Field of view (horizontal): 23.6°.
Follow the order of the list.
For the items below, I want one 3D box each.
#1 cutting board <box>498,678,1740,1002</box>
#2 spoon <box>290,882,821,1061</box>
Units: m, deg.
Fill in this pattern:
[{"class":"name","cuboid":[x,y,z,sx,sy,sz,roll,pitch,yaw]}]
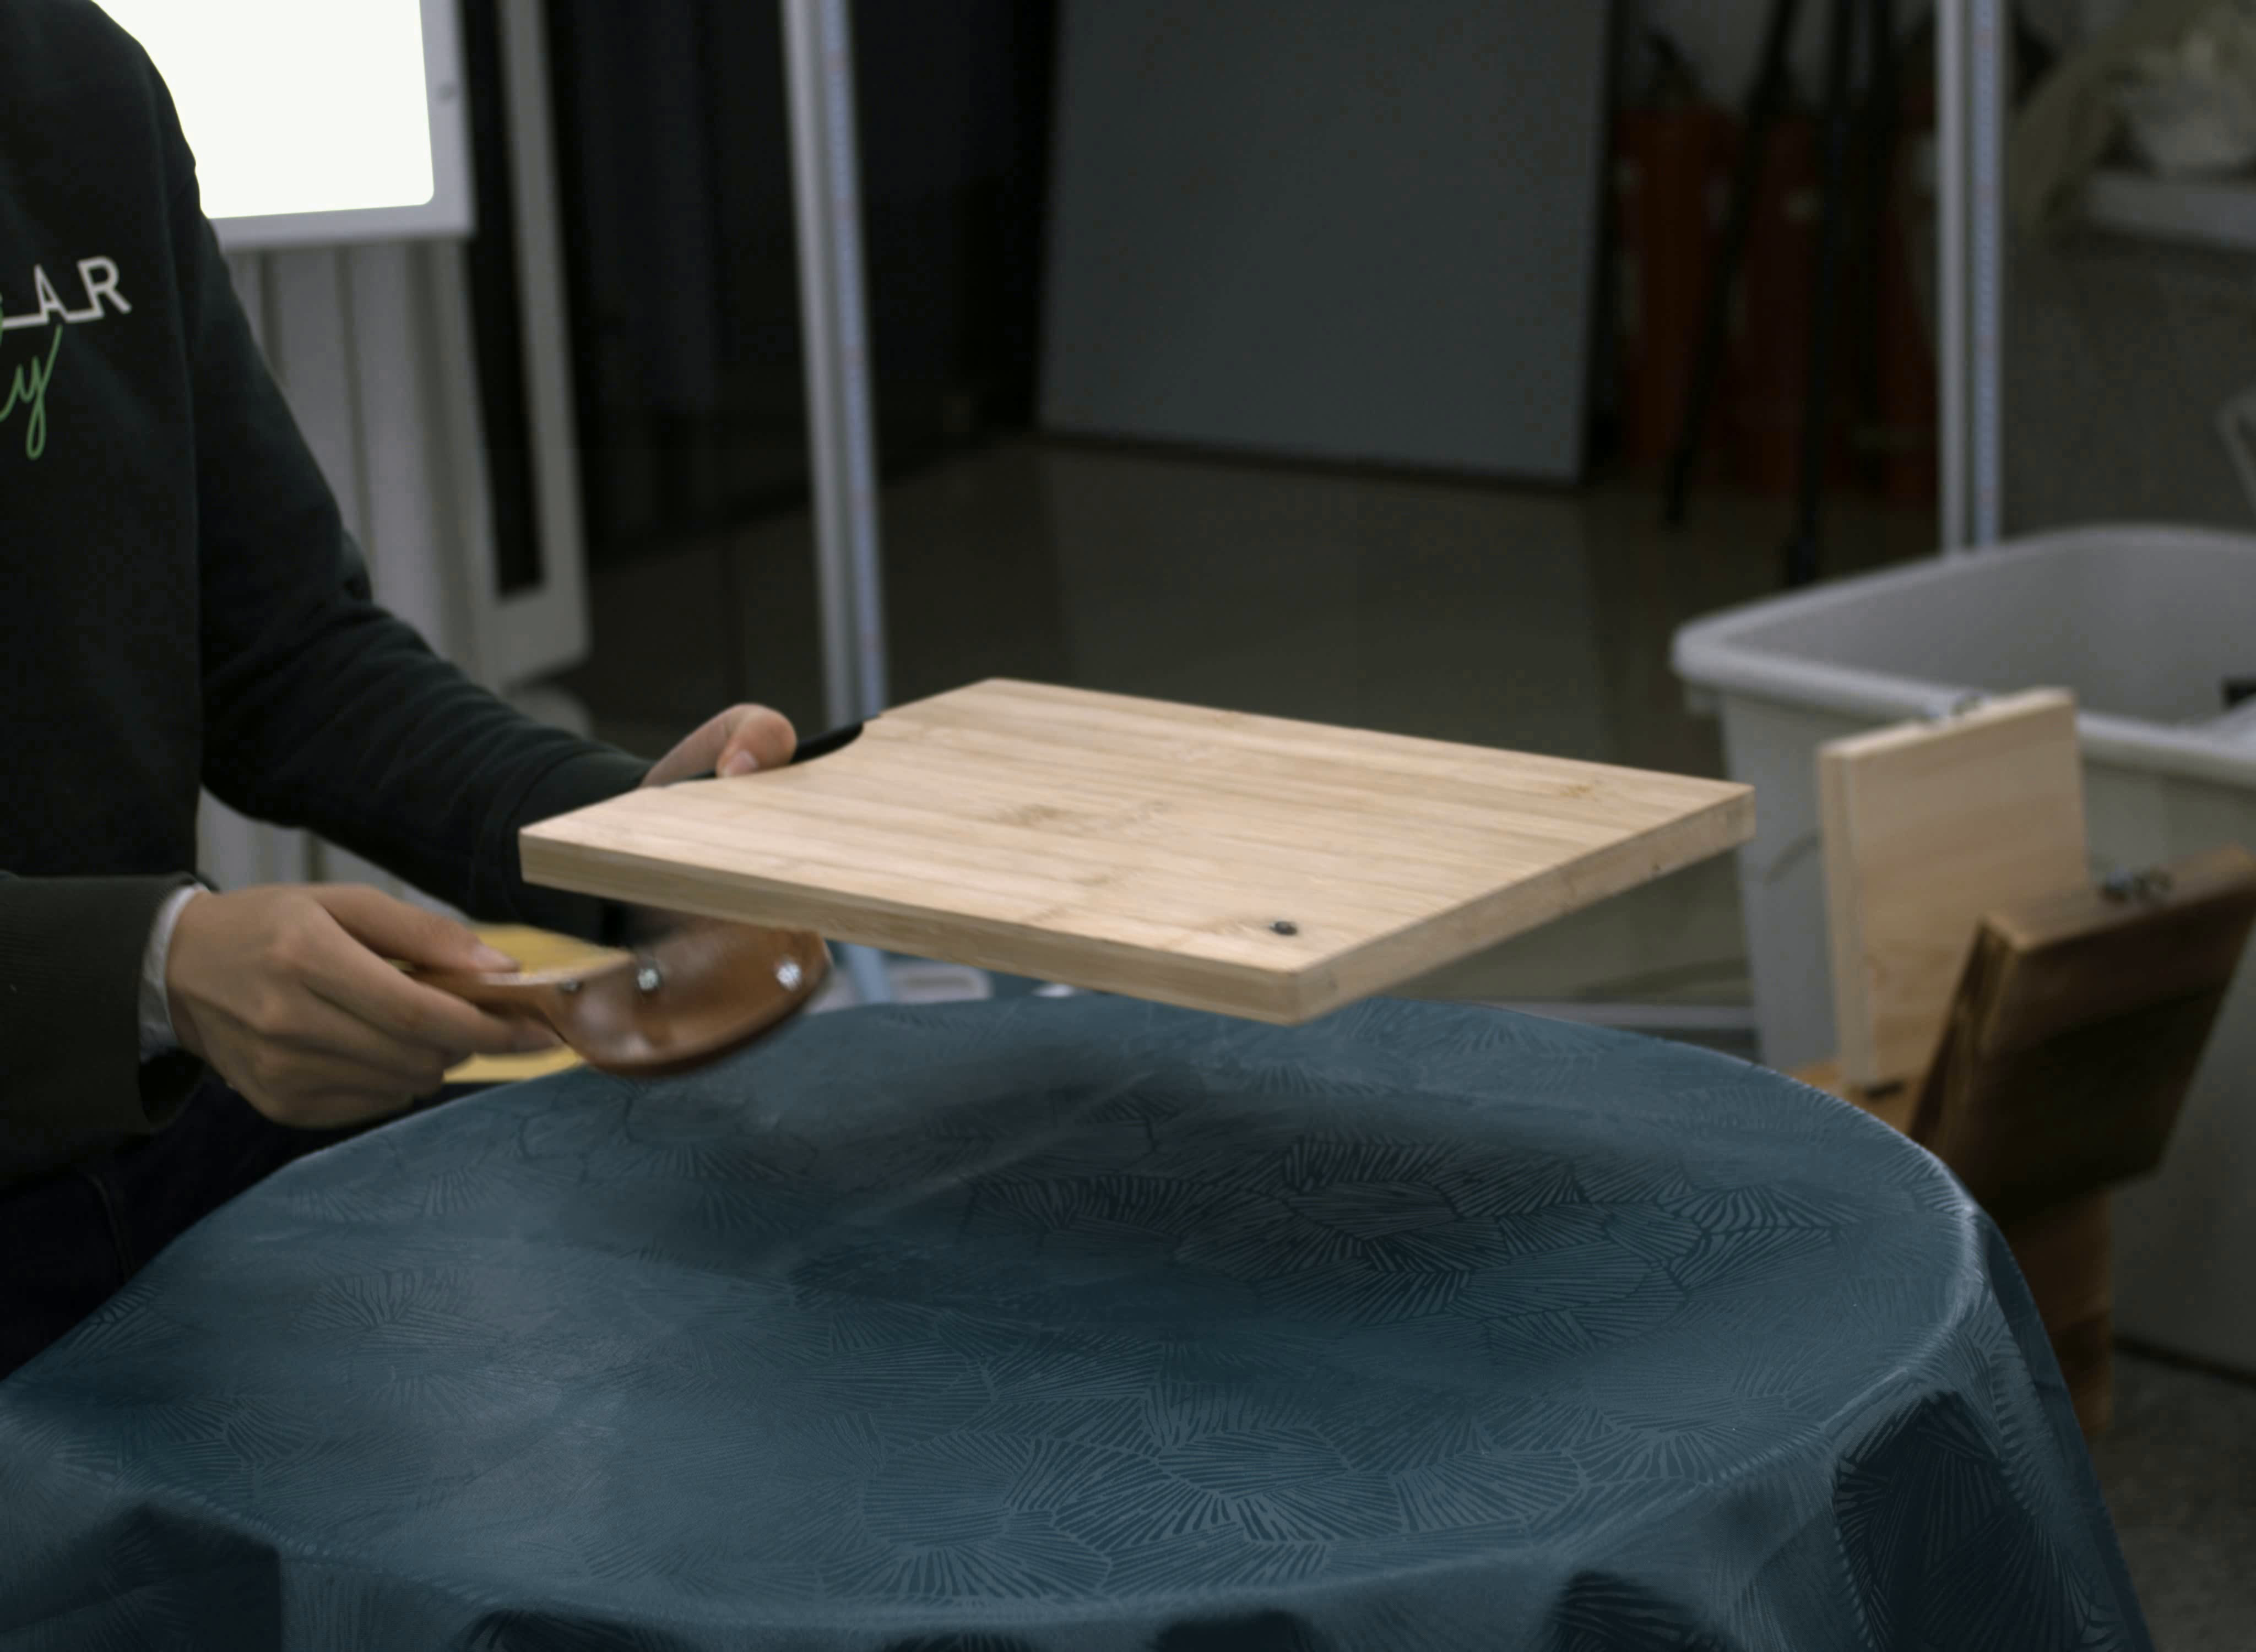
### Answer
[{"class":"cutting board","cuboid":[-0.006,0.000,1.772,0.351,0.024,0.246,8,18,42]},{"class":"spoon","cuboid":[-0.171,0.045,1.594,0.217,0.017,0.075,-1,37,42]}]
